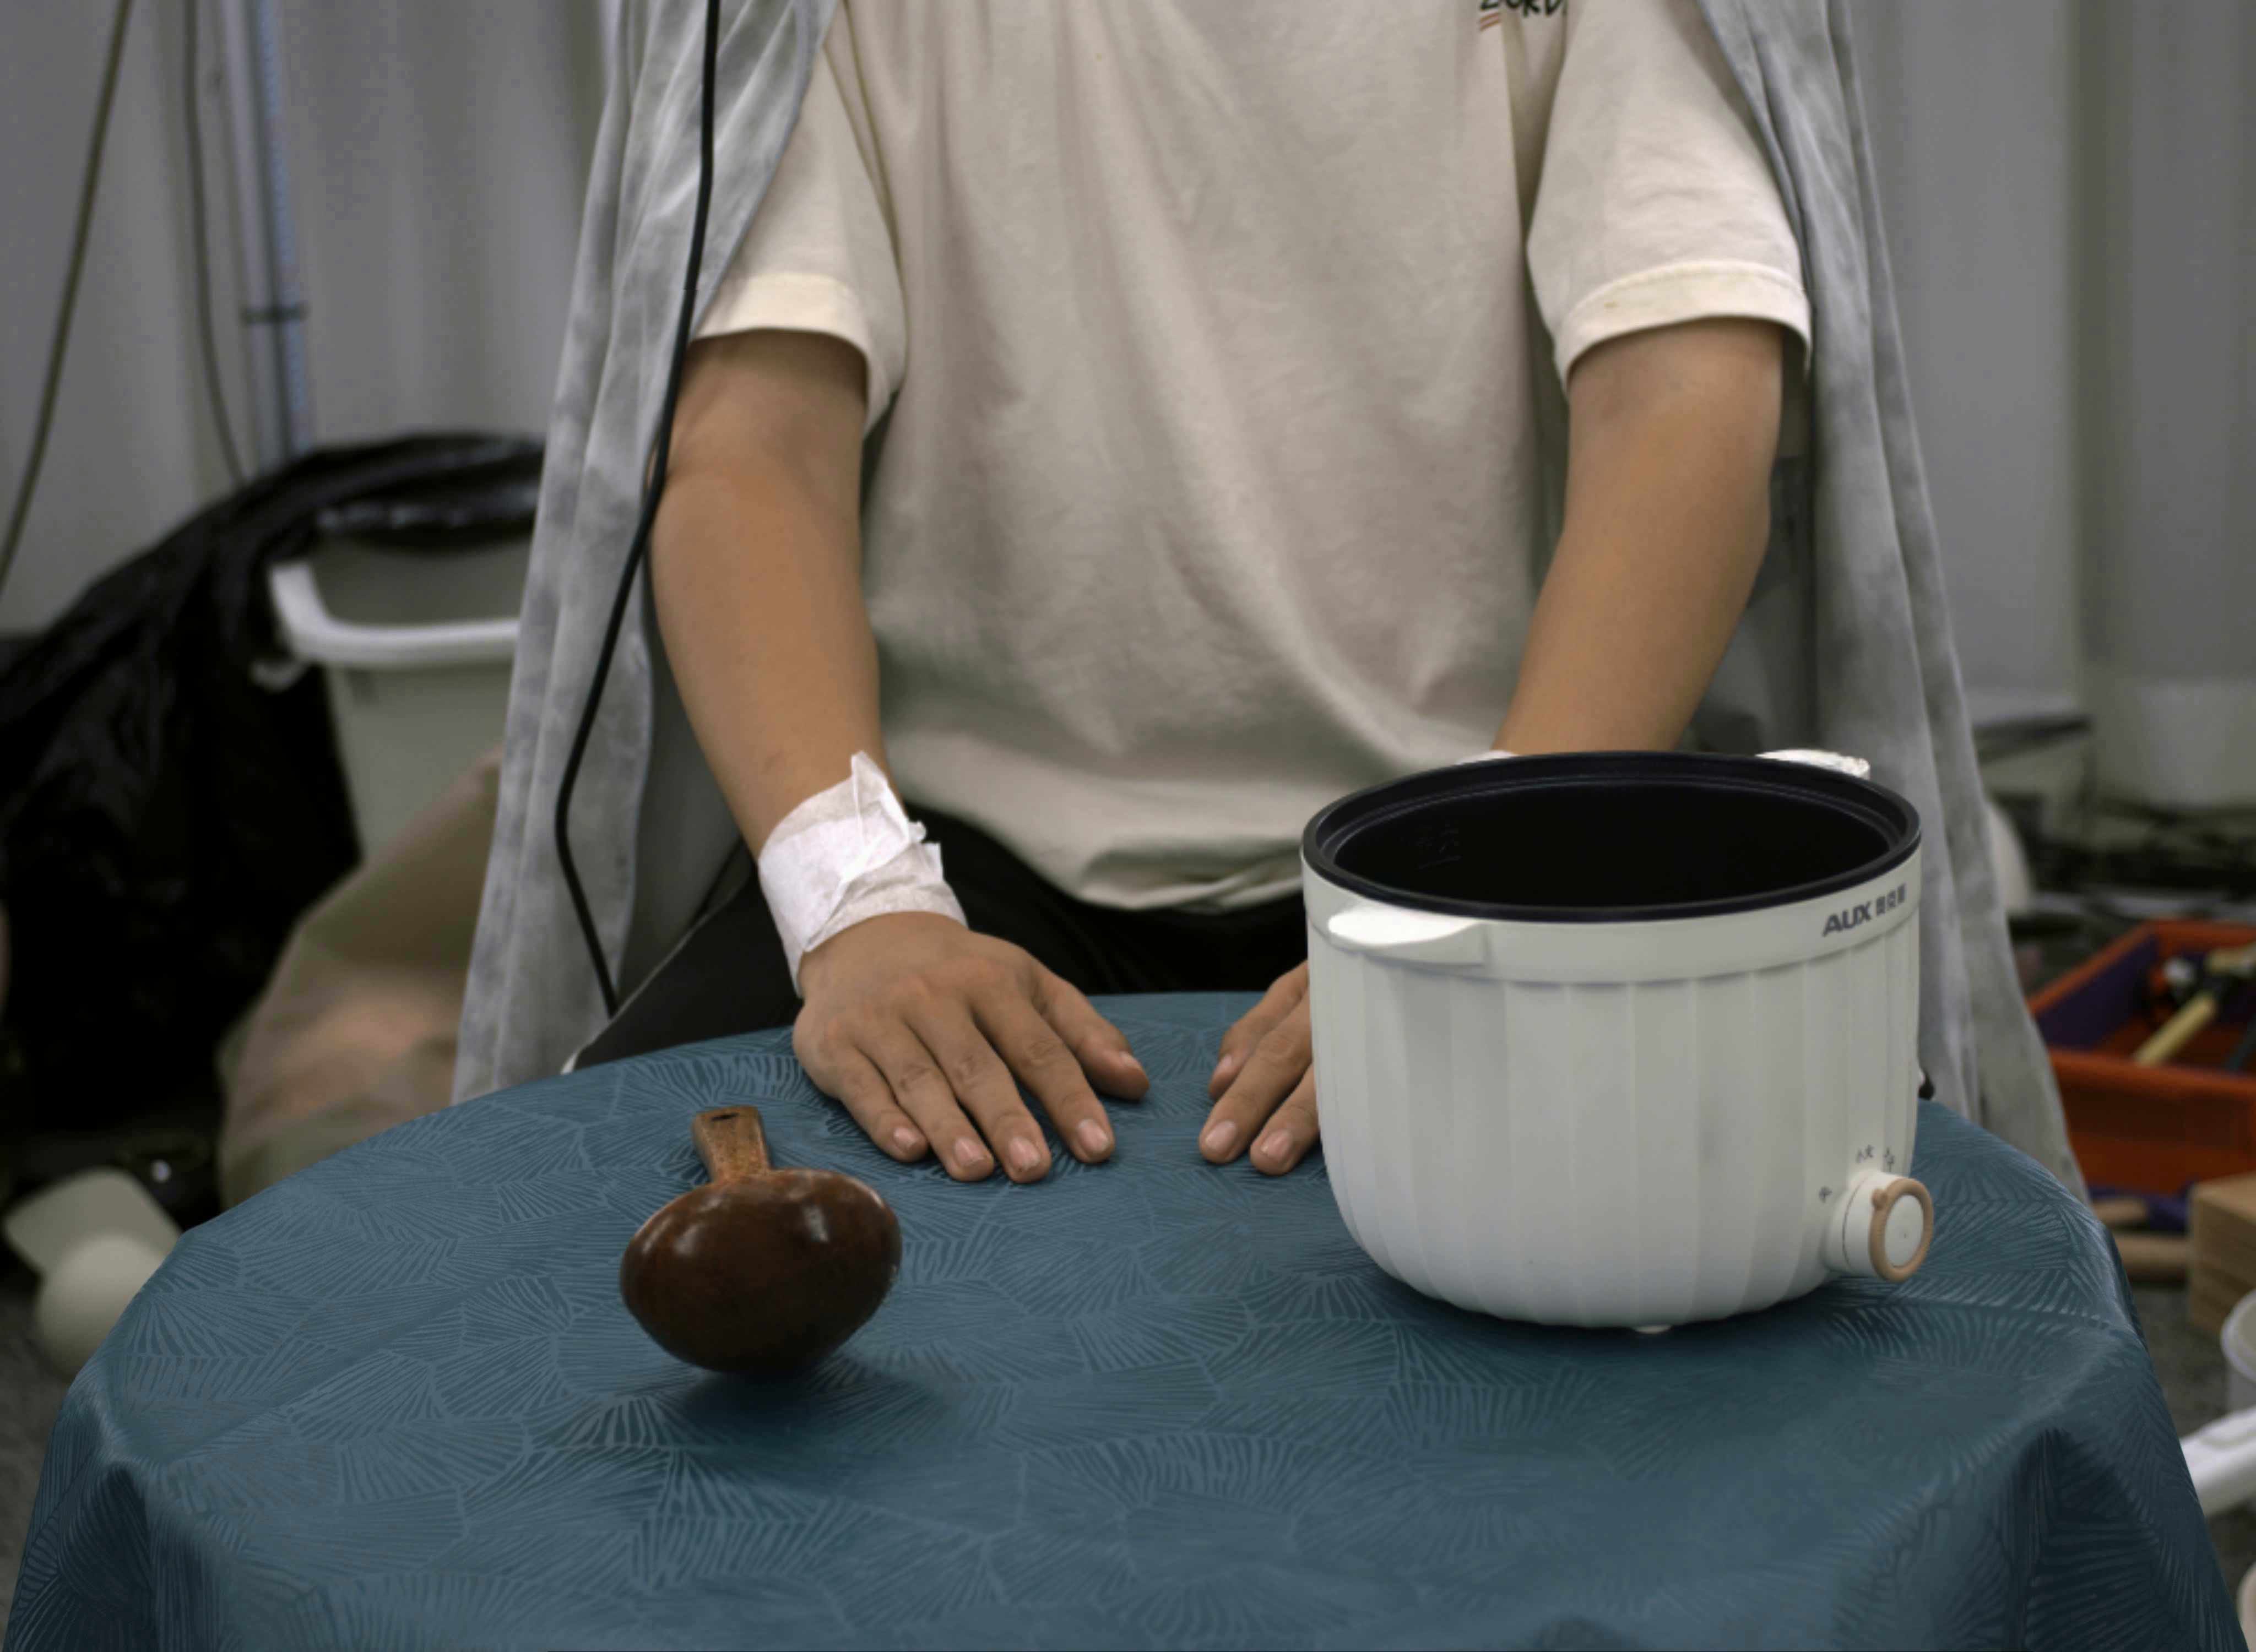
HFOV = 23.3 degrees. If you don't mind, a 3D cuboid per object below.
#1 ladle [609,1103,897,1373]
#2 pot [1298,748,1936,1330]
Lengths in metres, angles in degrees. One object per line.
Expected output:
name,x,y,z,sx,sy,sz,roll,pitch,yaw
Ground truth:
ladle,-0.116,0.100,1.648,0.081,0.076,0.276,-6,15,-5
pot,0.148,0.064,1.612,0.191,0.142,0.240,5,17,41
